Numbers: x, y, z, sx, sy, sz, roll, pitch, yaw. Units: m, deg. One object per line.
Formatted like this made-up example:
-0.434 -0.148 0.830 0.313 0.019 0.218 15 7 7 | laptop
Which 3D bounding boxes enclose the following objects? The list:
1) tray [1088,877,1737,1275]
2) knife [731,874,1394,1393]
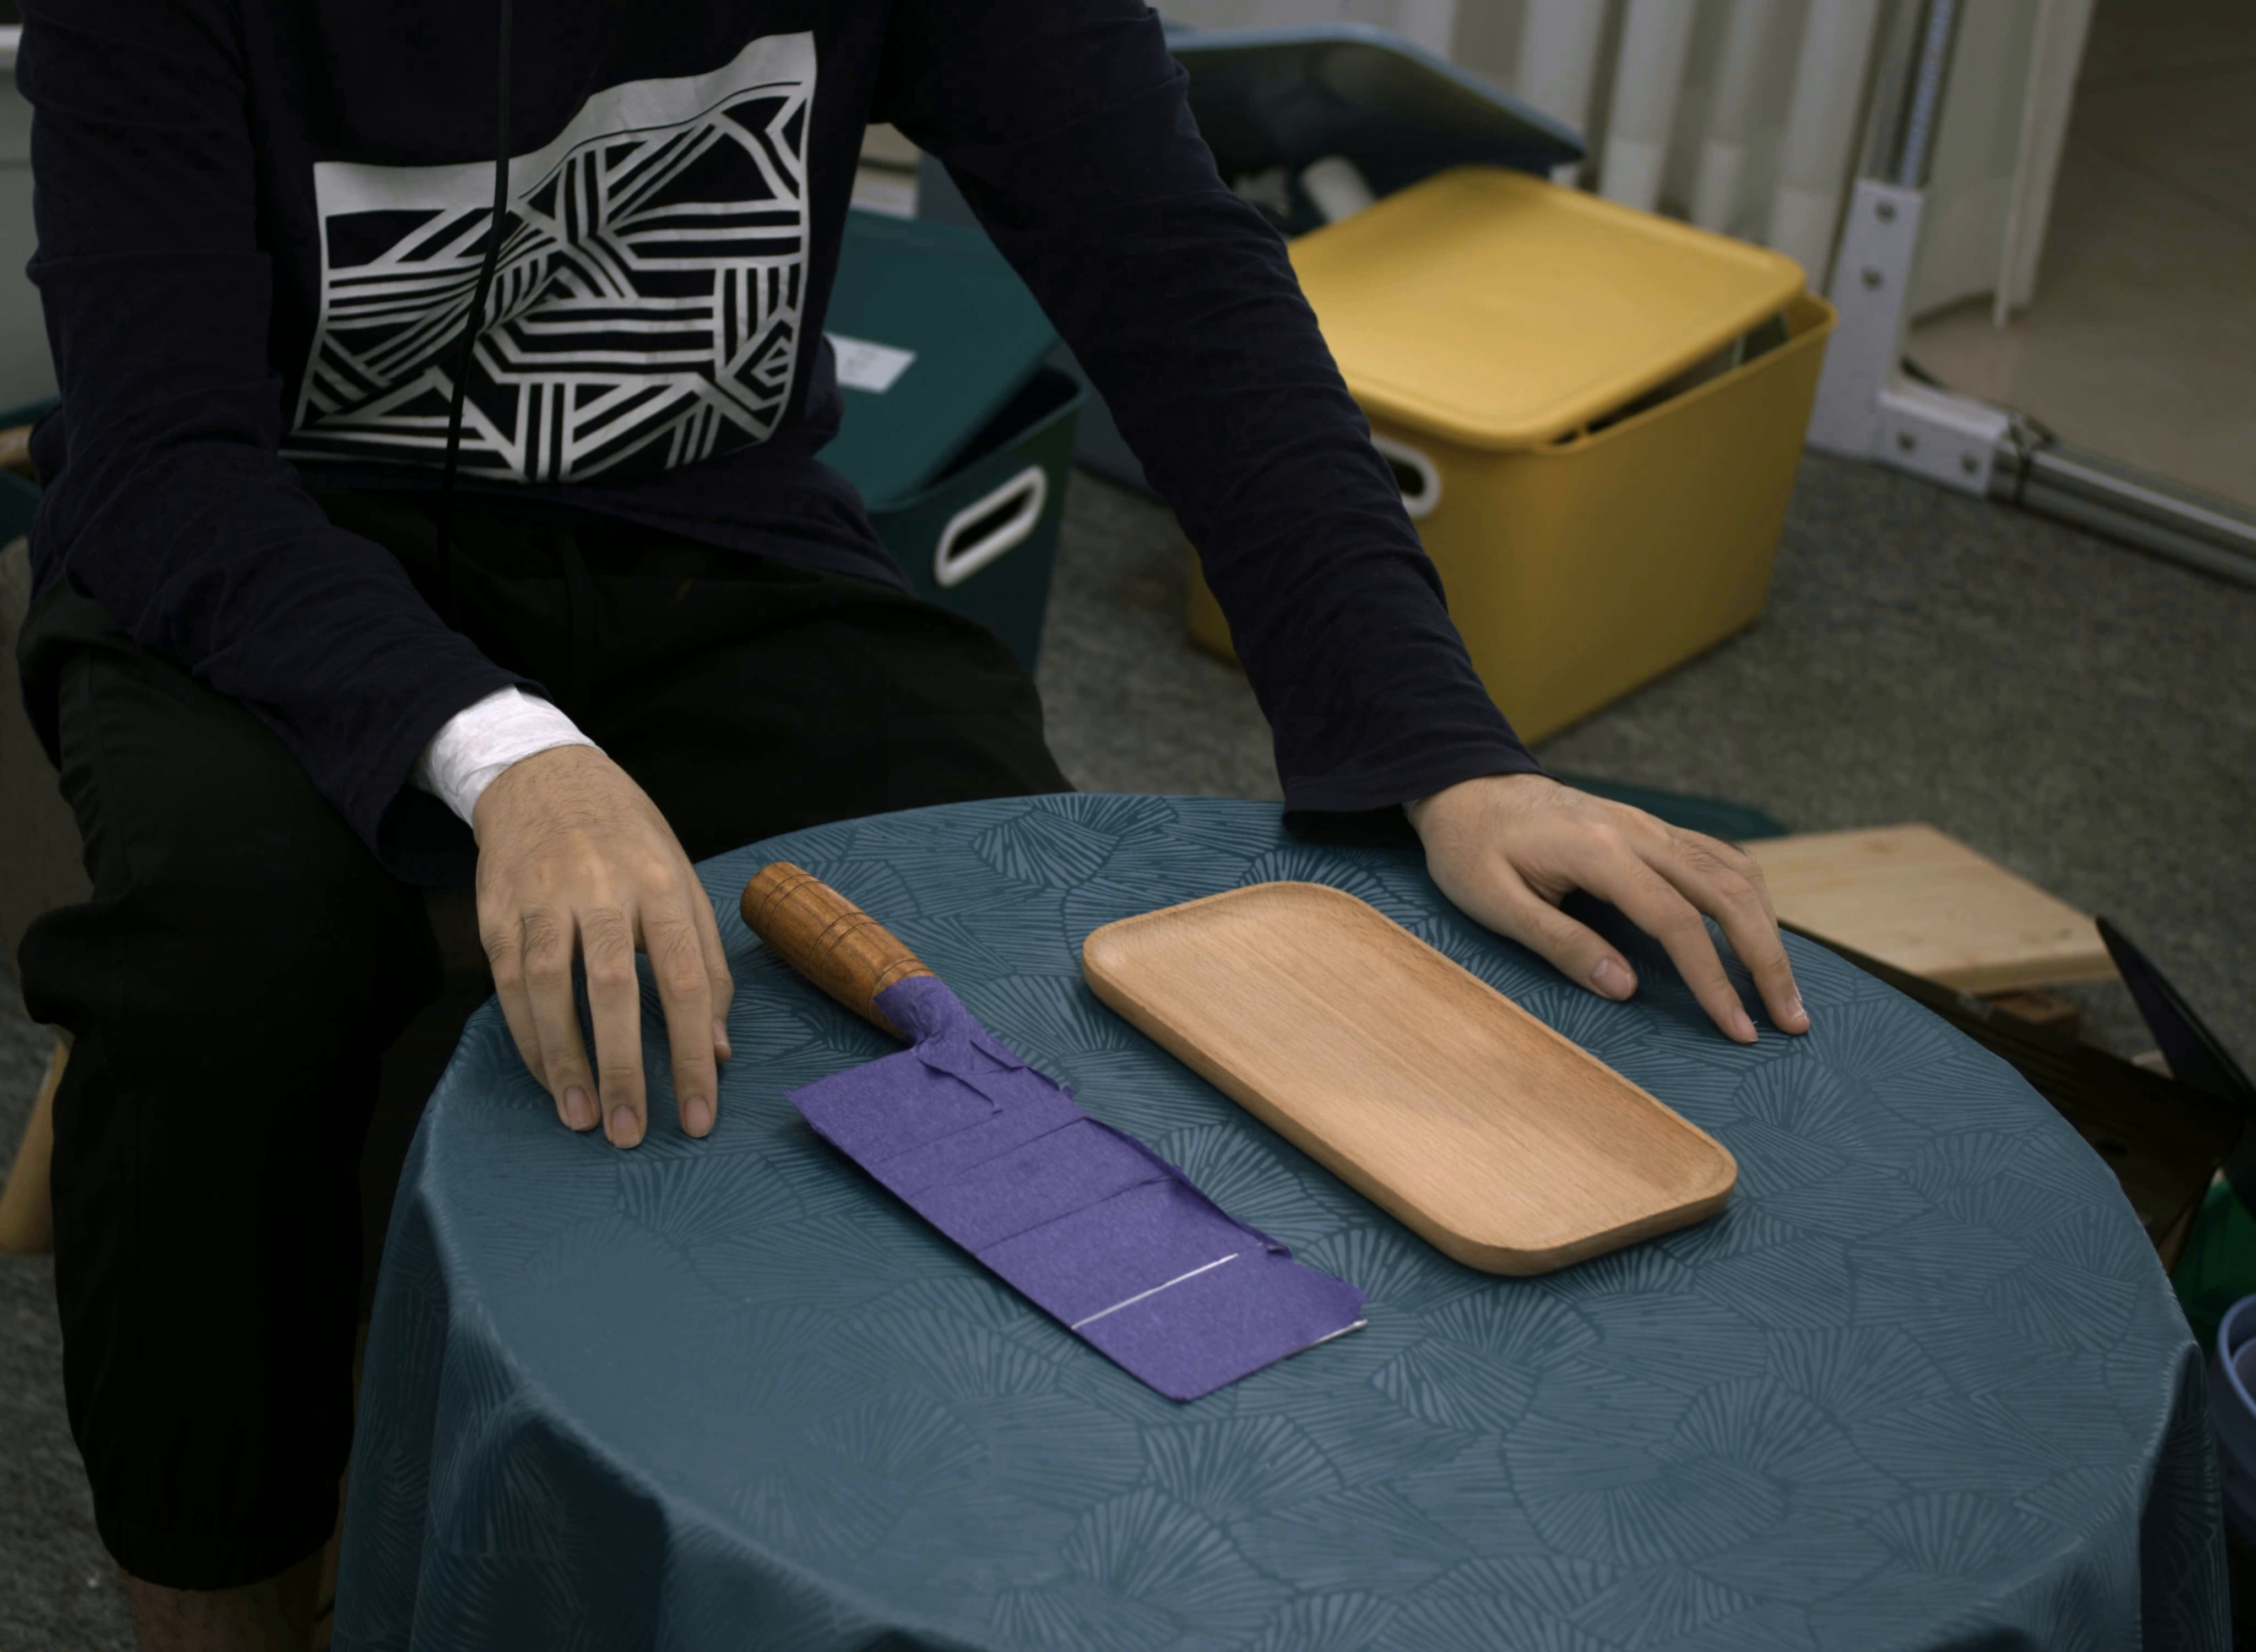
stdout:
0.097 0.086 1.885 0.130 0.023 0.253 -10 30 -34 | tray
-0.051 0.101 1.810 0.103 0.032 0.318 -17 36 -39 | knife
